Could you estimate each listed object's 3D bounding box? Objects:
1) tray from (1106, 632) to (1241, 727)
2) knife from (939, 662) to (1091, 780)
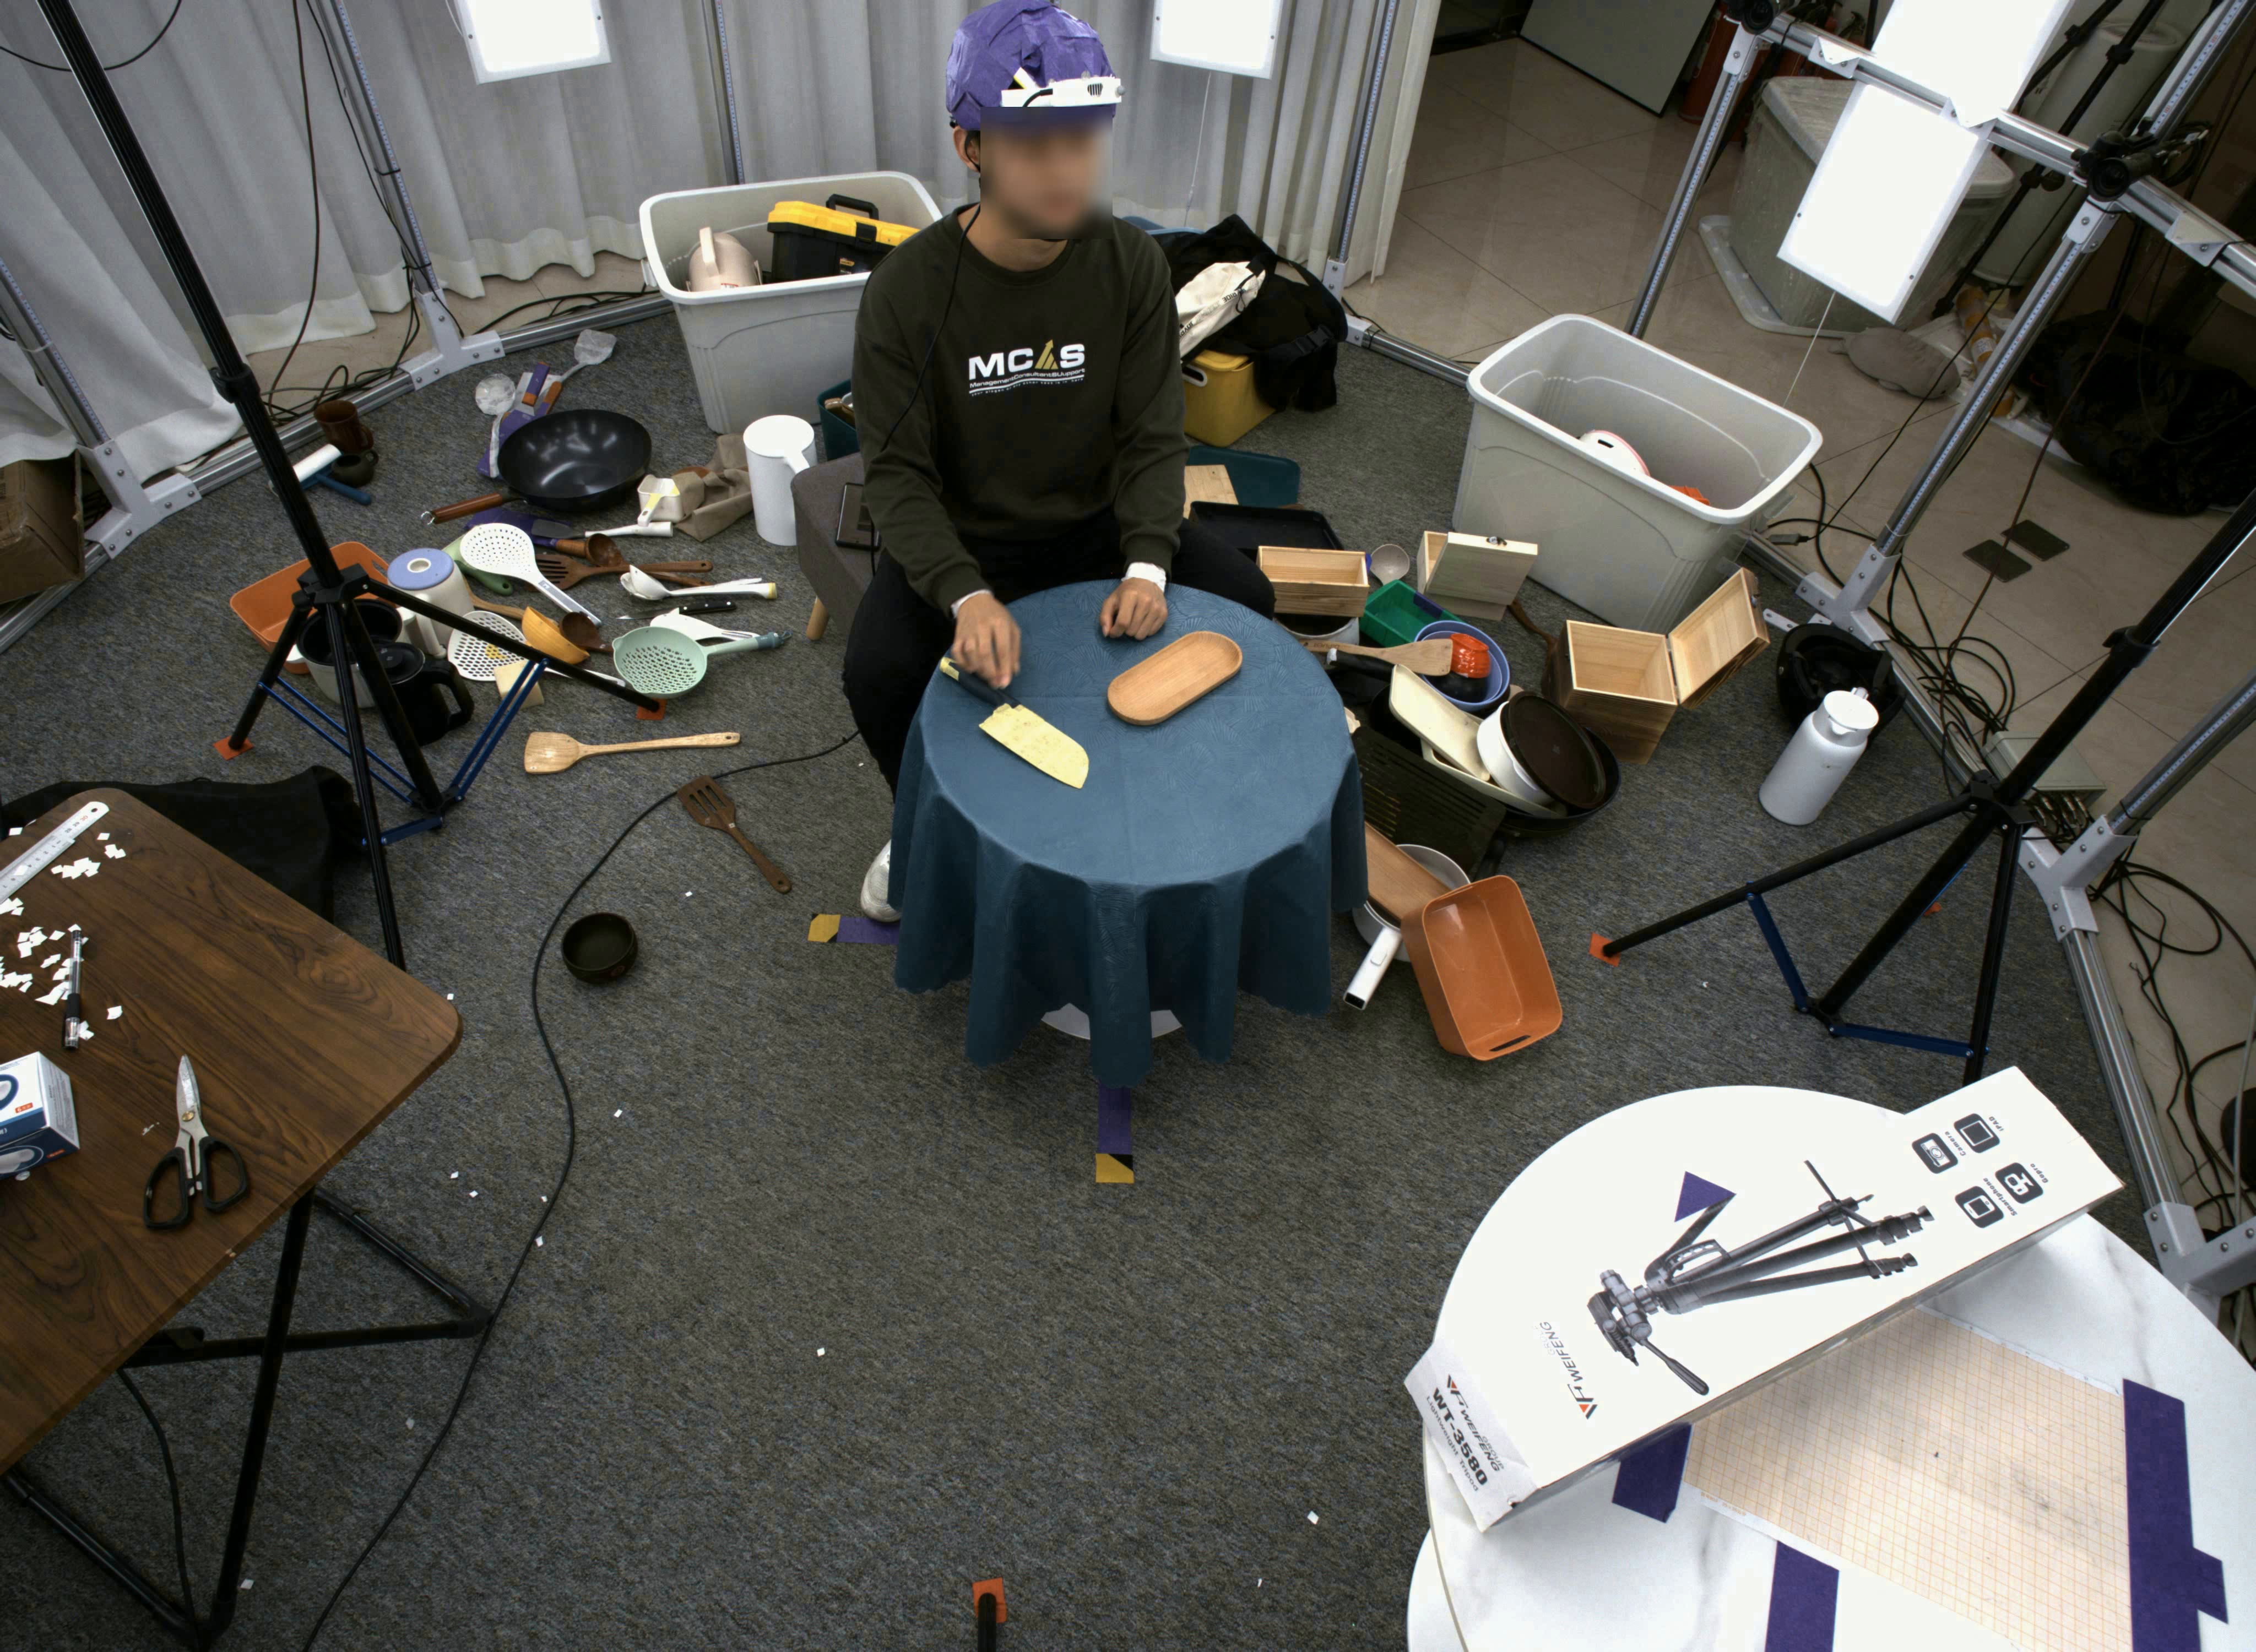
[{"bbox_3d":[0.067,-0.212,1.846,0.233,0.020,0.103,-35,58,-28],"label":"tray"},{"bbox_3d":[-0.163,-0.144,1.771,0.293,0.026,0.082,36,52,23],"label":"knife"}]
